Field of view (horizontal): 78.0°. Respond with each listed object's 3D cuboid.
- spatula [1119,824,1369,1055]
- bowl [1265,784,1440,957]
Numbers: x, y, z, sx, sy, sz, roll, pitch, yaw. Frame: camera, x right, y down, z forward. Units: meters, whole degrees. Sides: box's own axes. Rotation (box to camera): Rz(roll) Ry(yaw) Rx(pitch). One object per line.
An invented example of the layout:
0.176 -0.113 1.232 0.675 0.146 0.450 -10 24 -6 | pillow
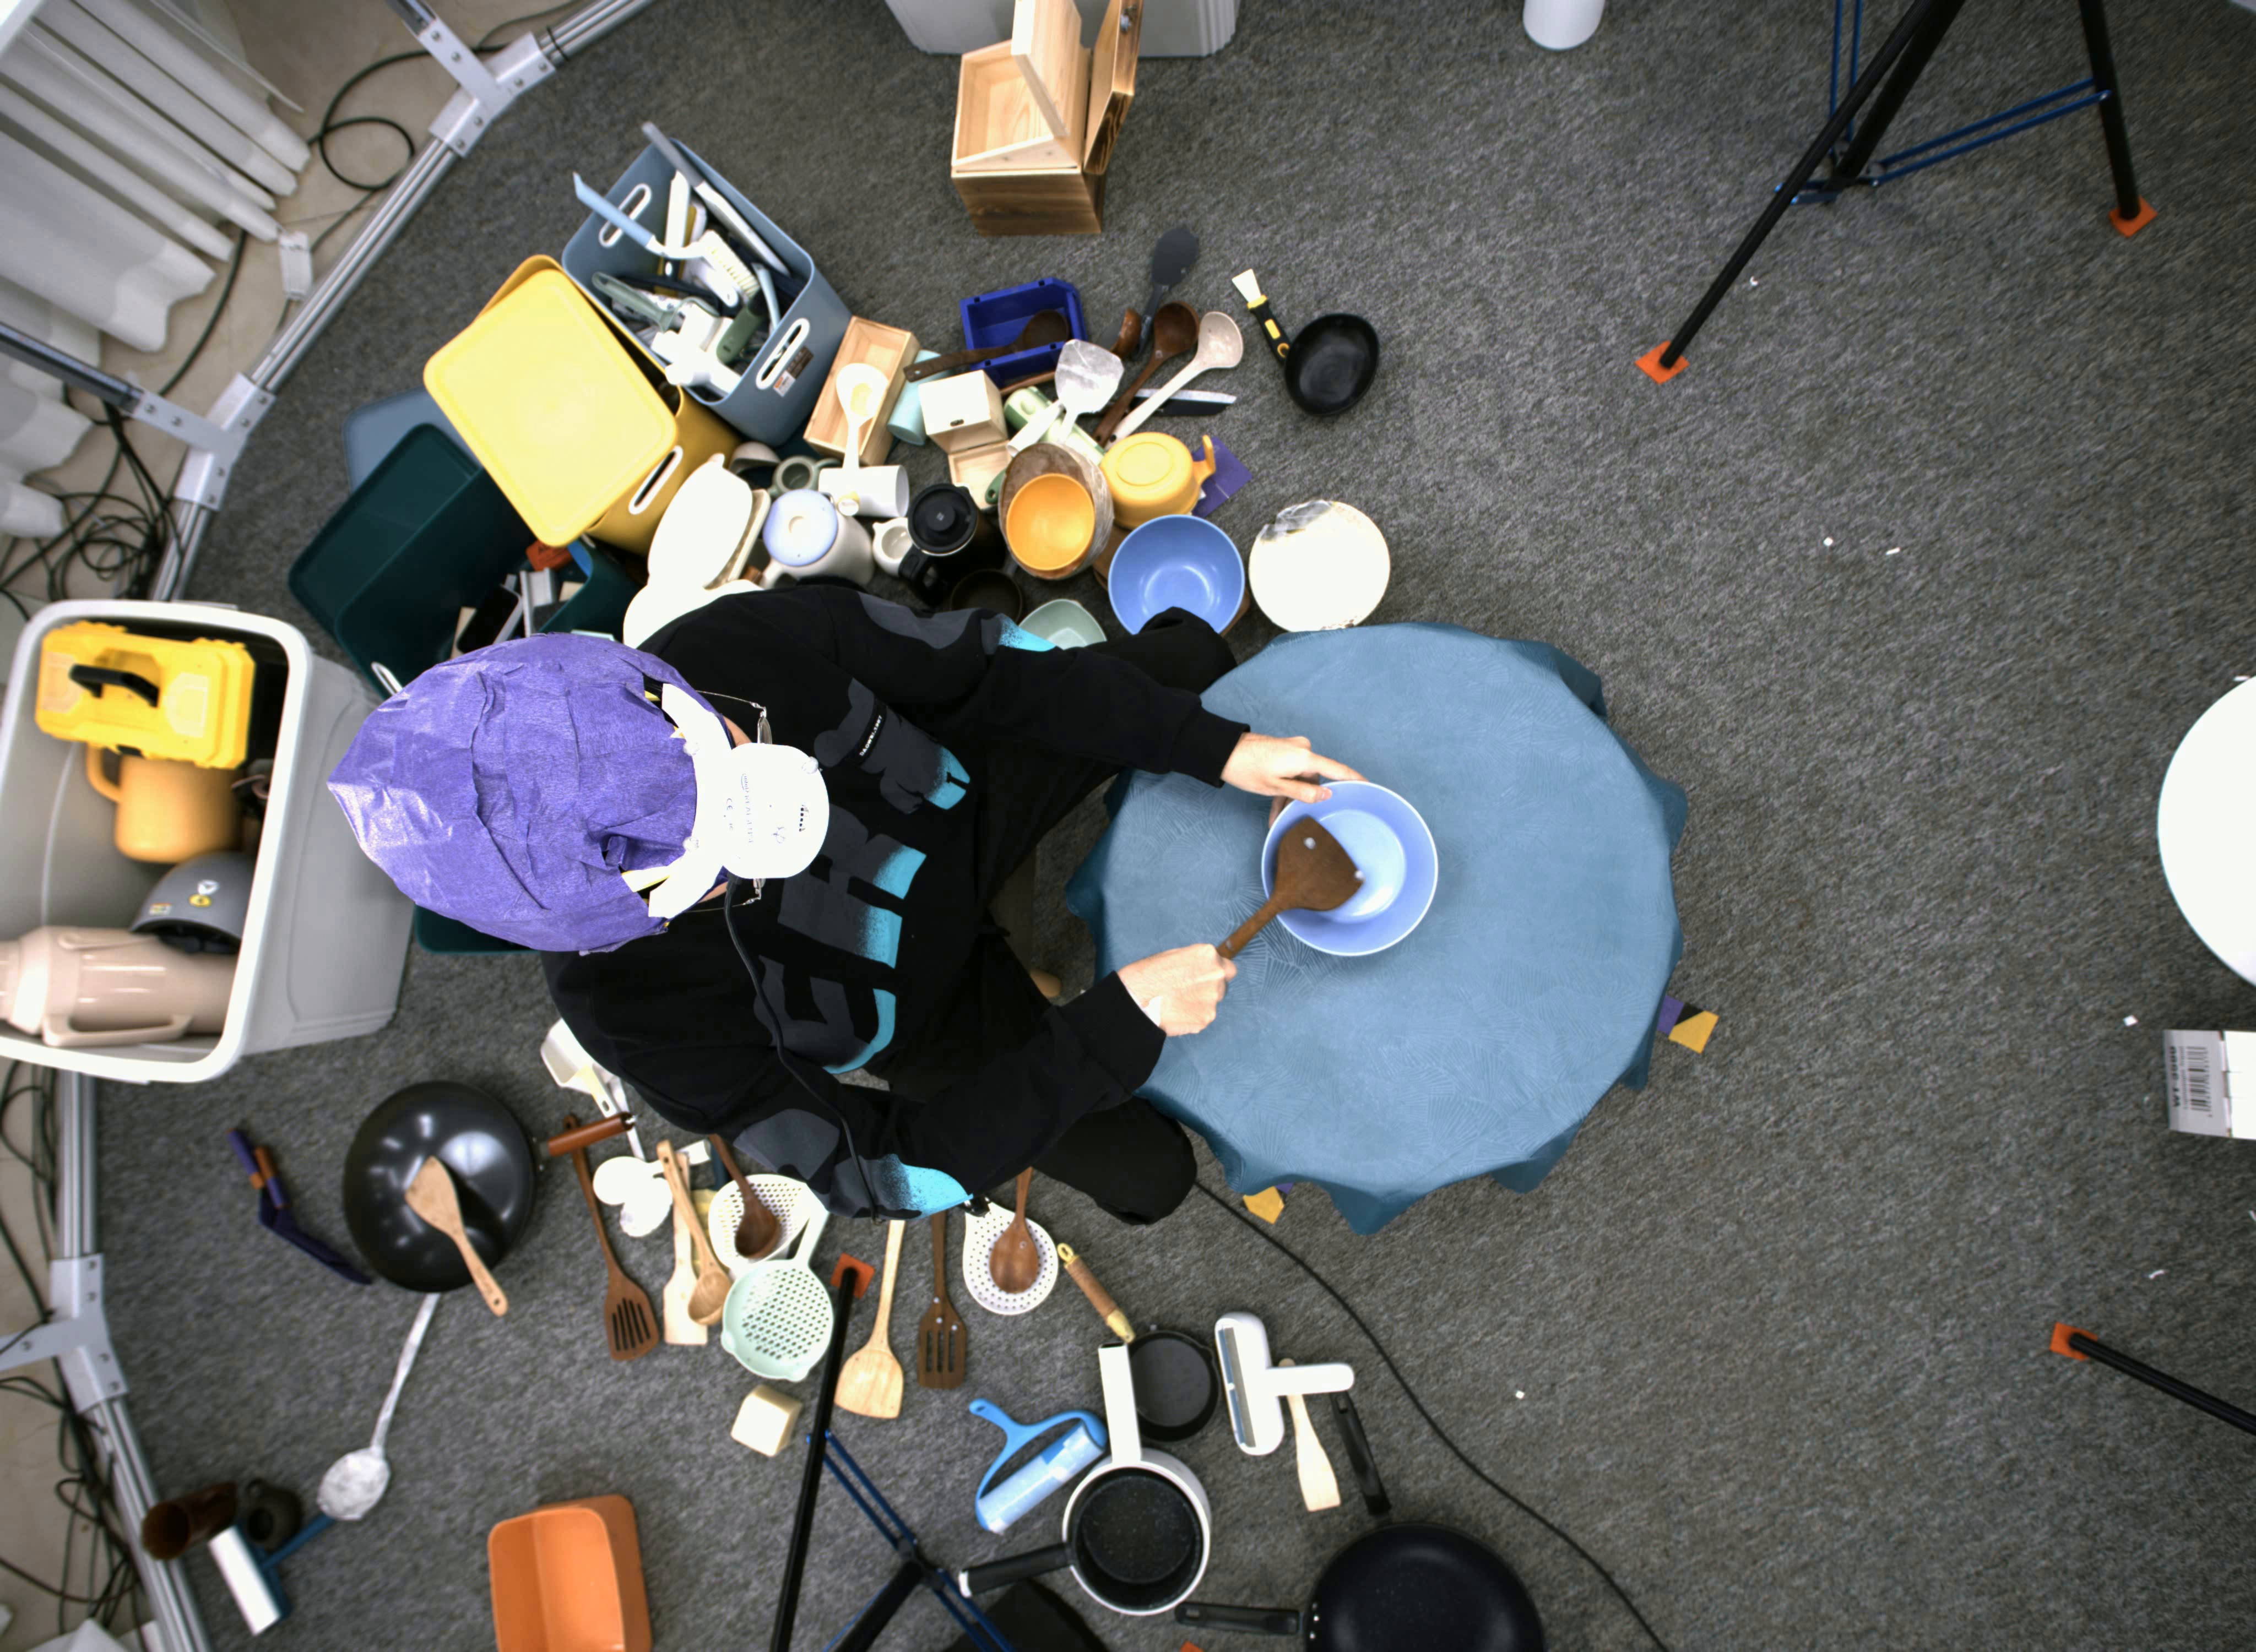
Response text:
0.112 0.109 1.313 0.096 0.378 0.016 52 138 3 | spatula
0.231 0.045 1.423 0.177 0.070 0.176 0 91 11 | bowl
